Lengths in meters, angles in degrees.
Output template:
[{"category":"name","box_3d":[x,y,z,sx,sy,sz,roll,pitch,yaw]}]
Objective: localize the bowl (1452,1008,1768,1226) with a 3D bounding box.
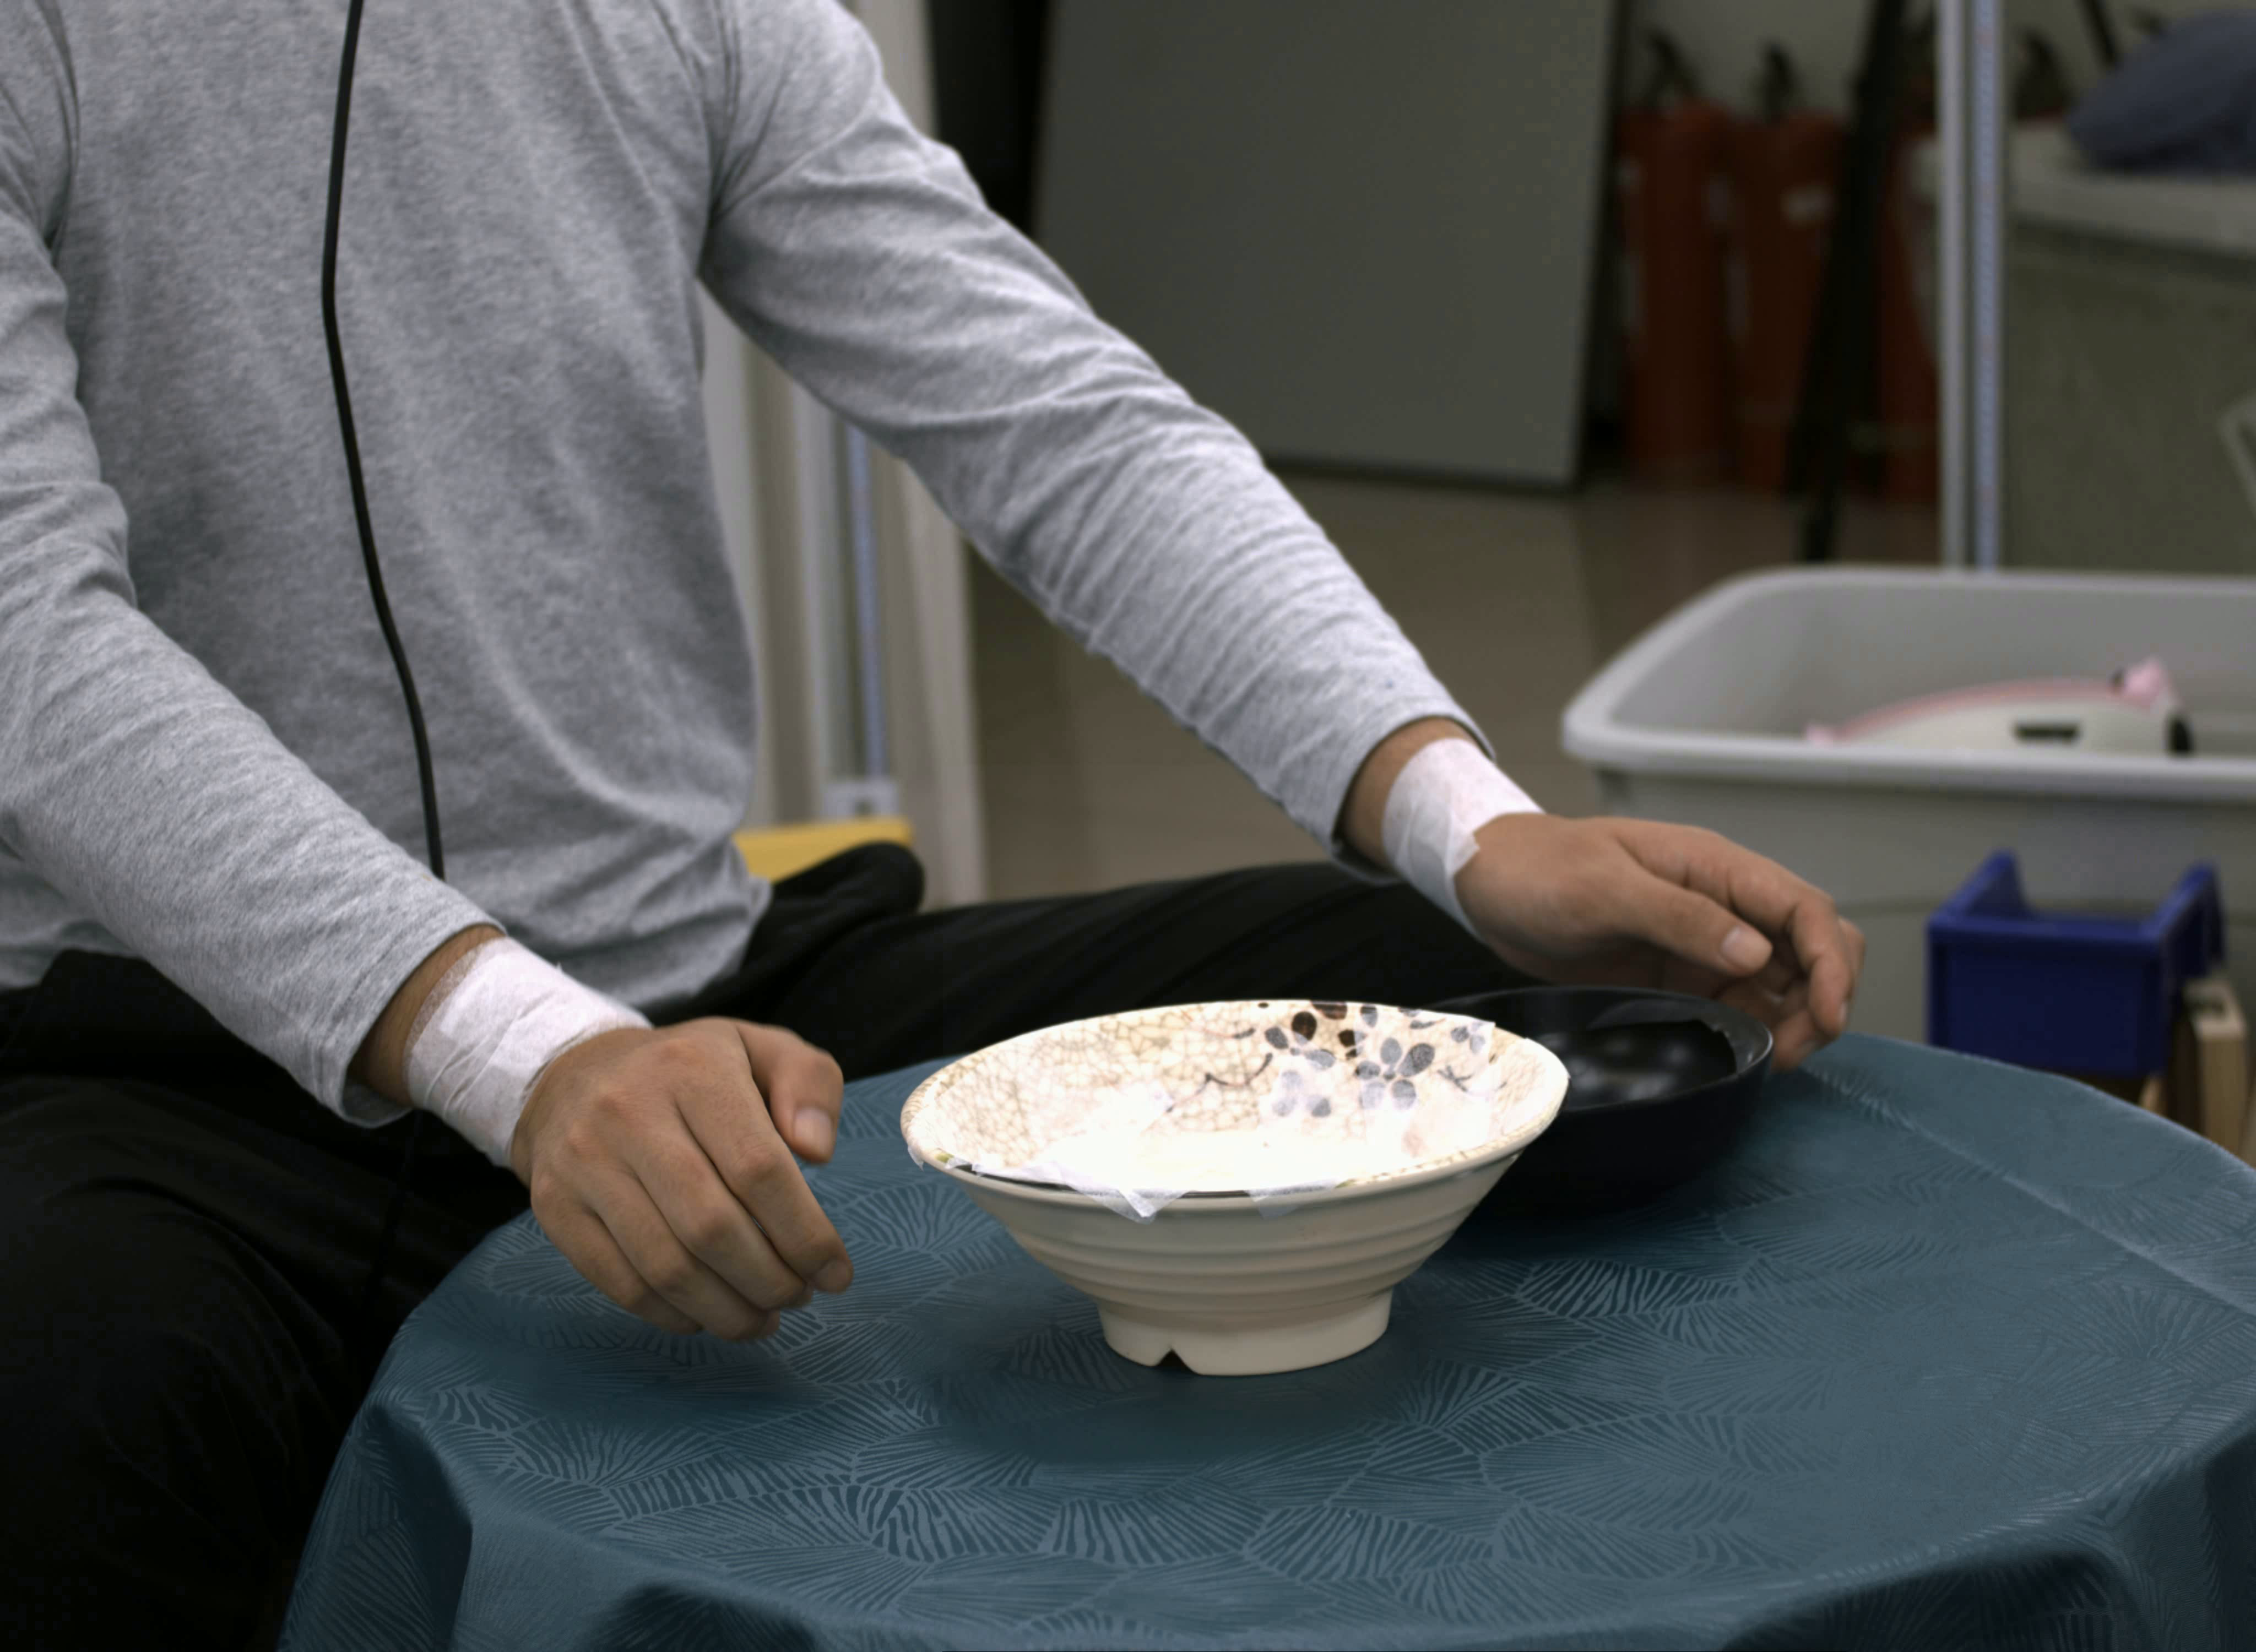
[{"category":"bowl","box_3d":[0.141,0.097,1.743,0.138,0.050,0.140,-6,8,0]}]

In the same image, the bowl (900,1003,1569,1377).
[{"category":"bowl","box_3d":[0.034,0.115,1.623,0.201,0.079,0.204,-4,12,0]}]
